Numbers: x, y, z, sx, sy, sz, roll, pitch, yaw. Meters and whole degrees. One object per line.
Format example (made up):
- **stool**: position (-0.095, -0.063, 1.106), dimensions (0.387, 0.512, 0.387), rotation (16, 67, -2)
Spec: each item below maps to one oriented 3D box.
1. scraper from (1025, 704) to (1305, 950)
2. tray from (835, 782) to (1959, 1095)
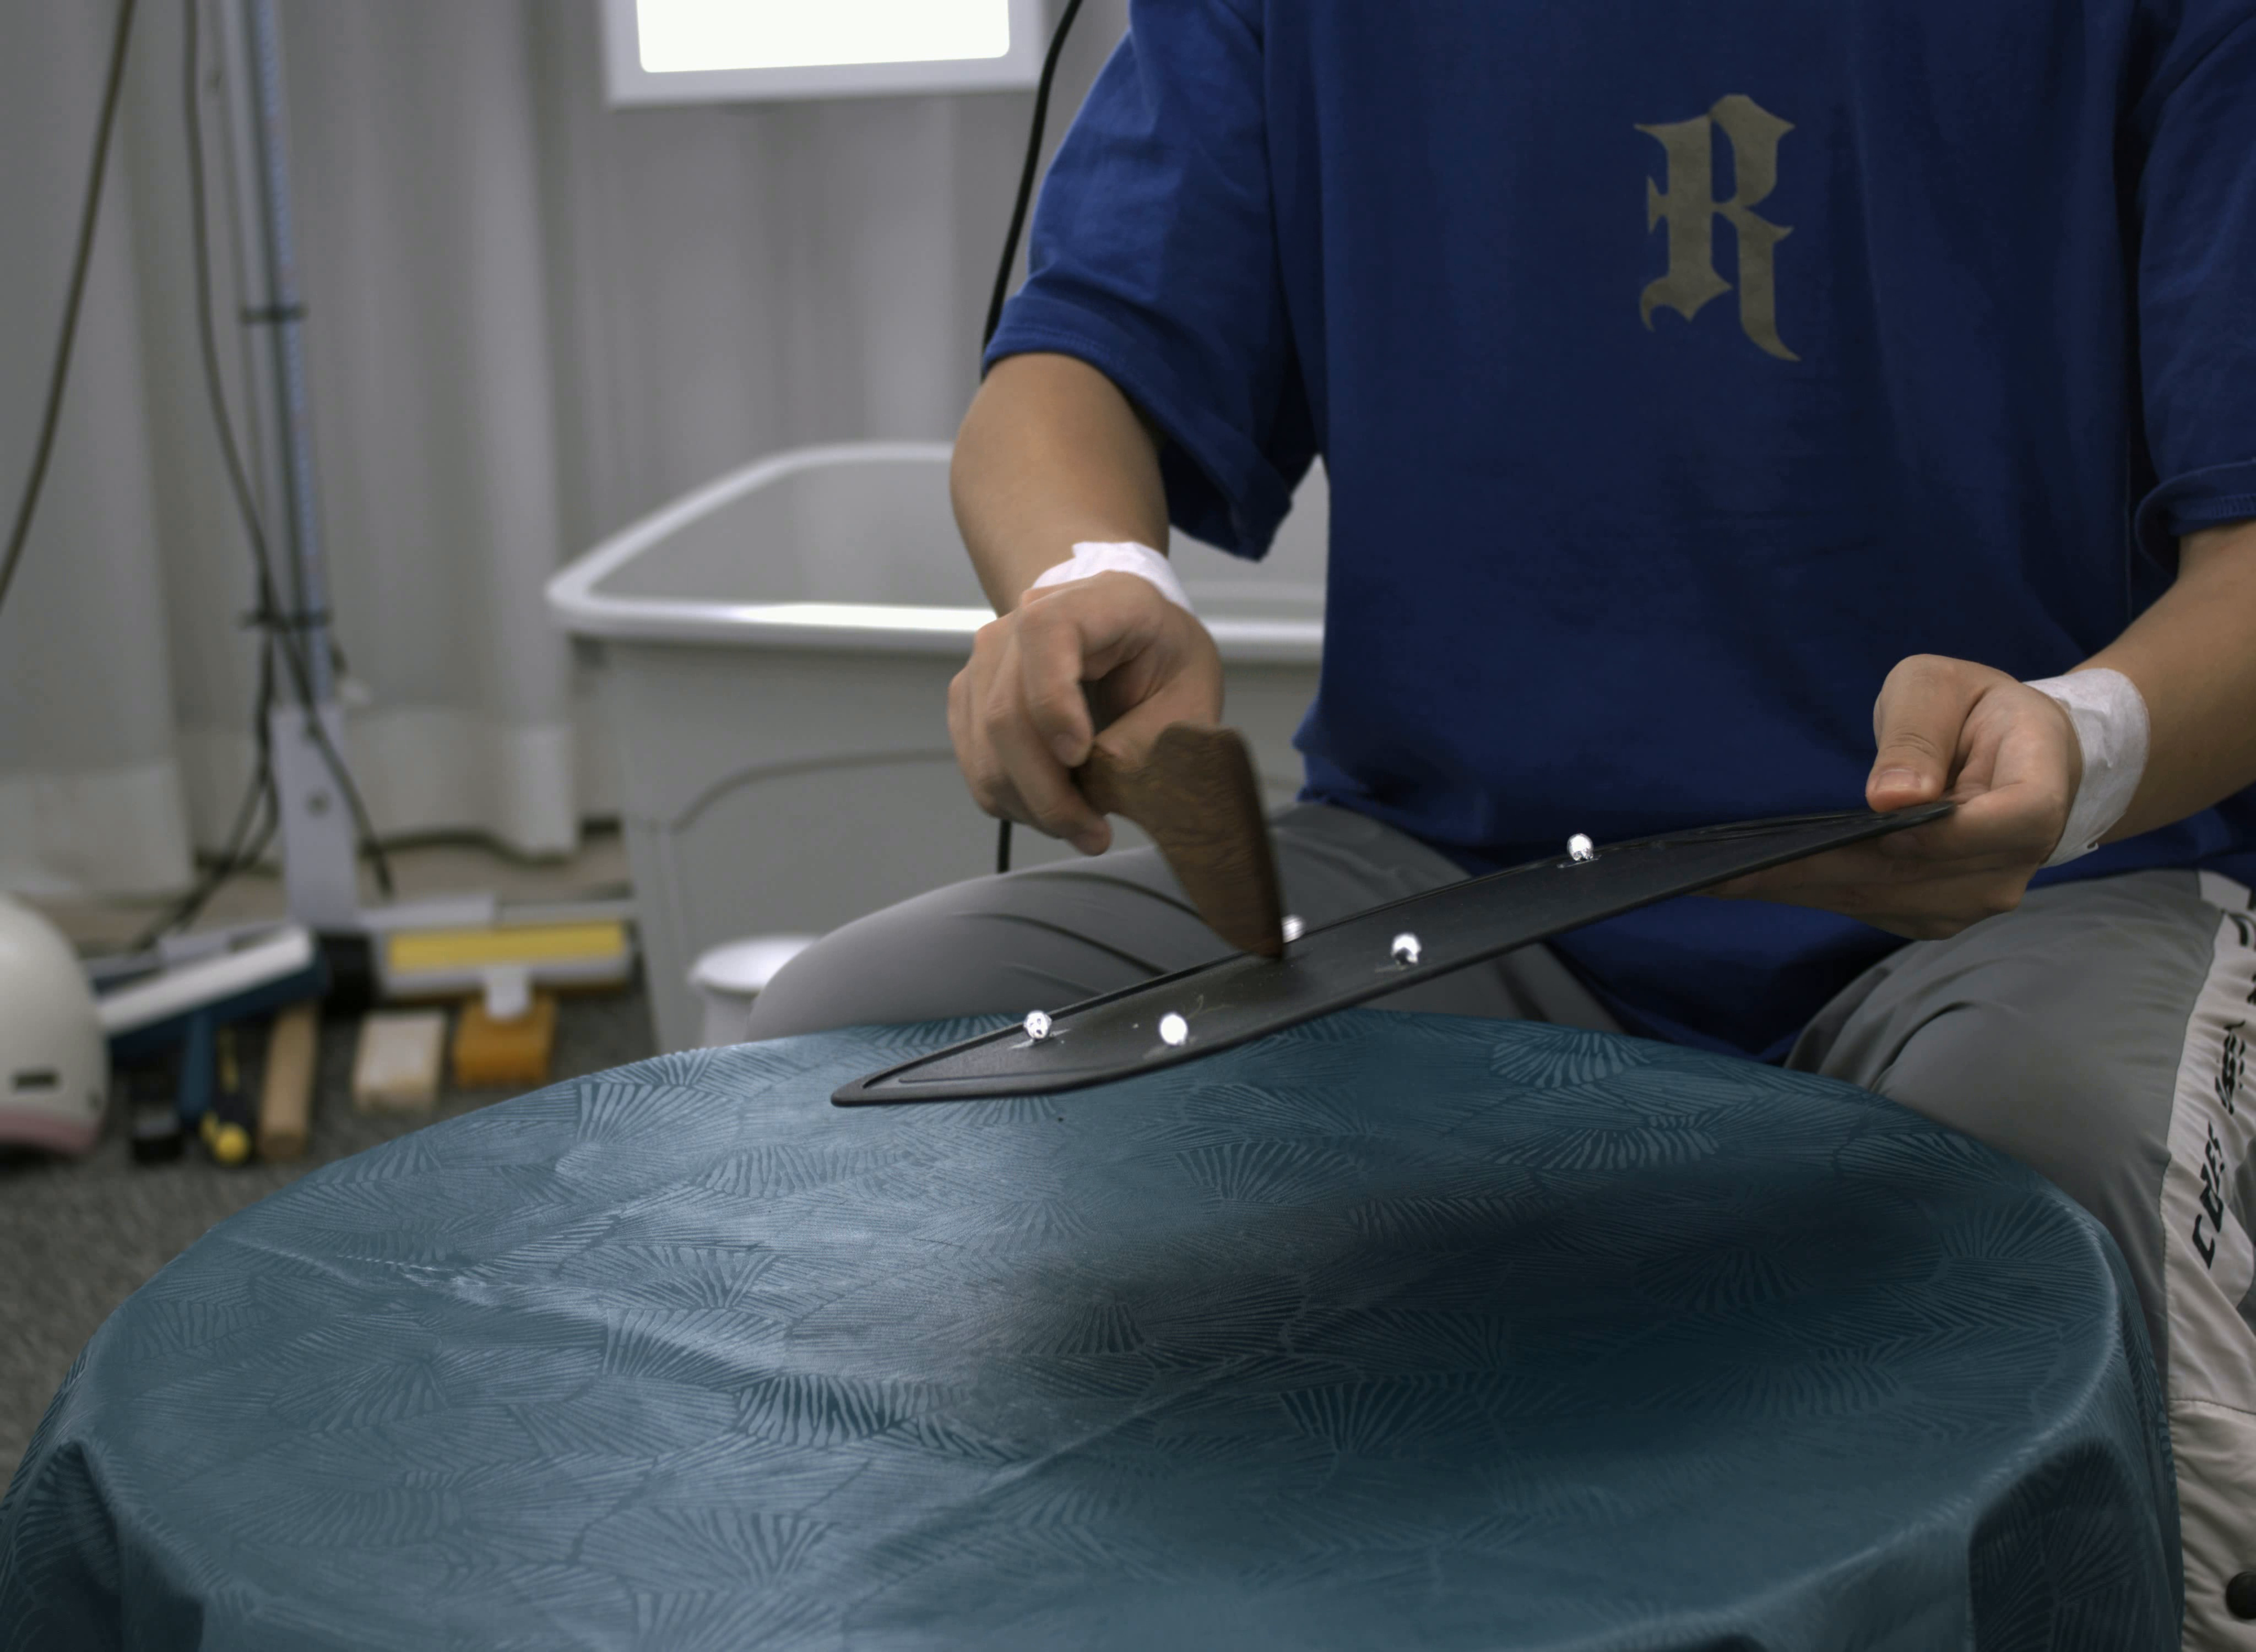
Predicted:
- **scraper**: position (0.006, -0.011, 1.704), dimensions (0.011, 0.075, 0.212), rotation (-17, 14, -17)
- **tray**: position (0.084, 0.030, 1.589), dimensions (0.324, 0.010, 0.211), rotation (-17, 3, -27)
